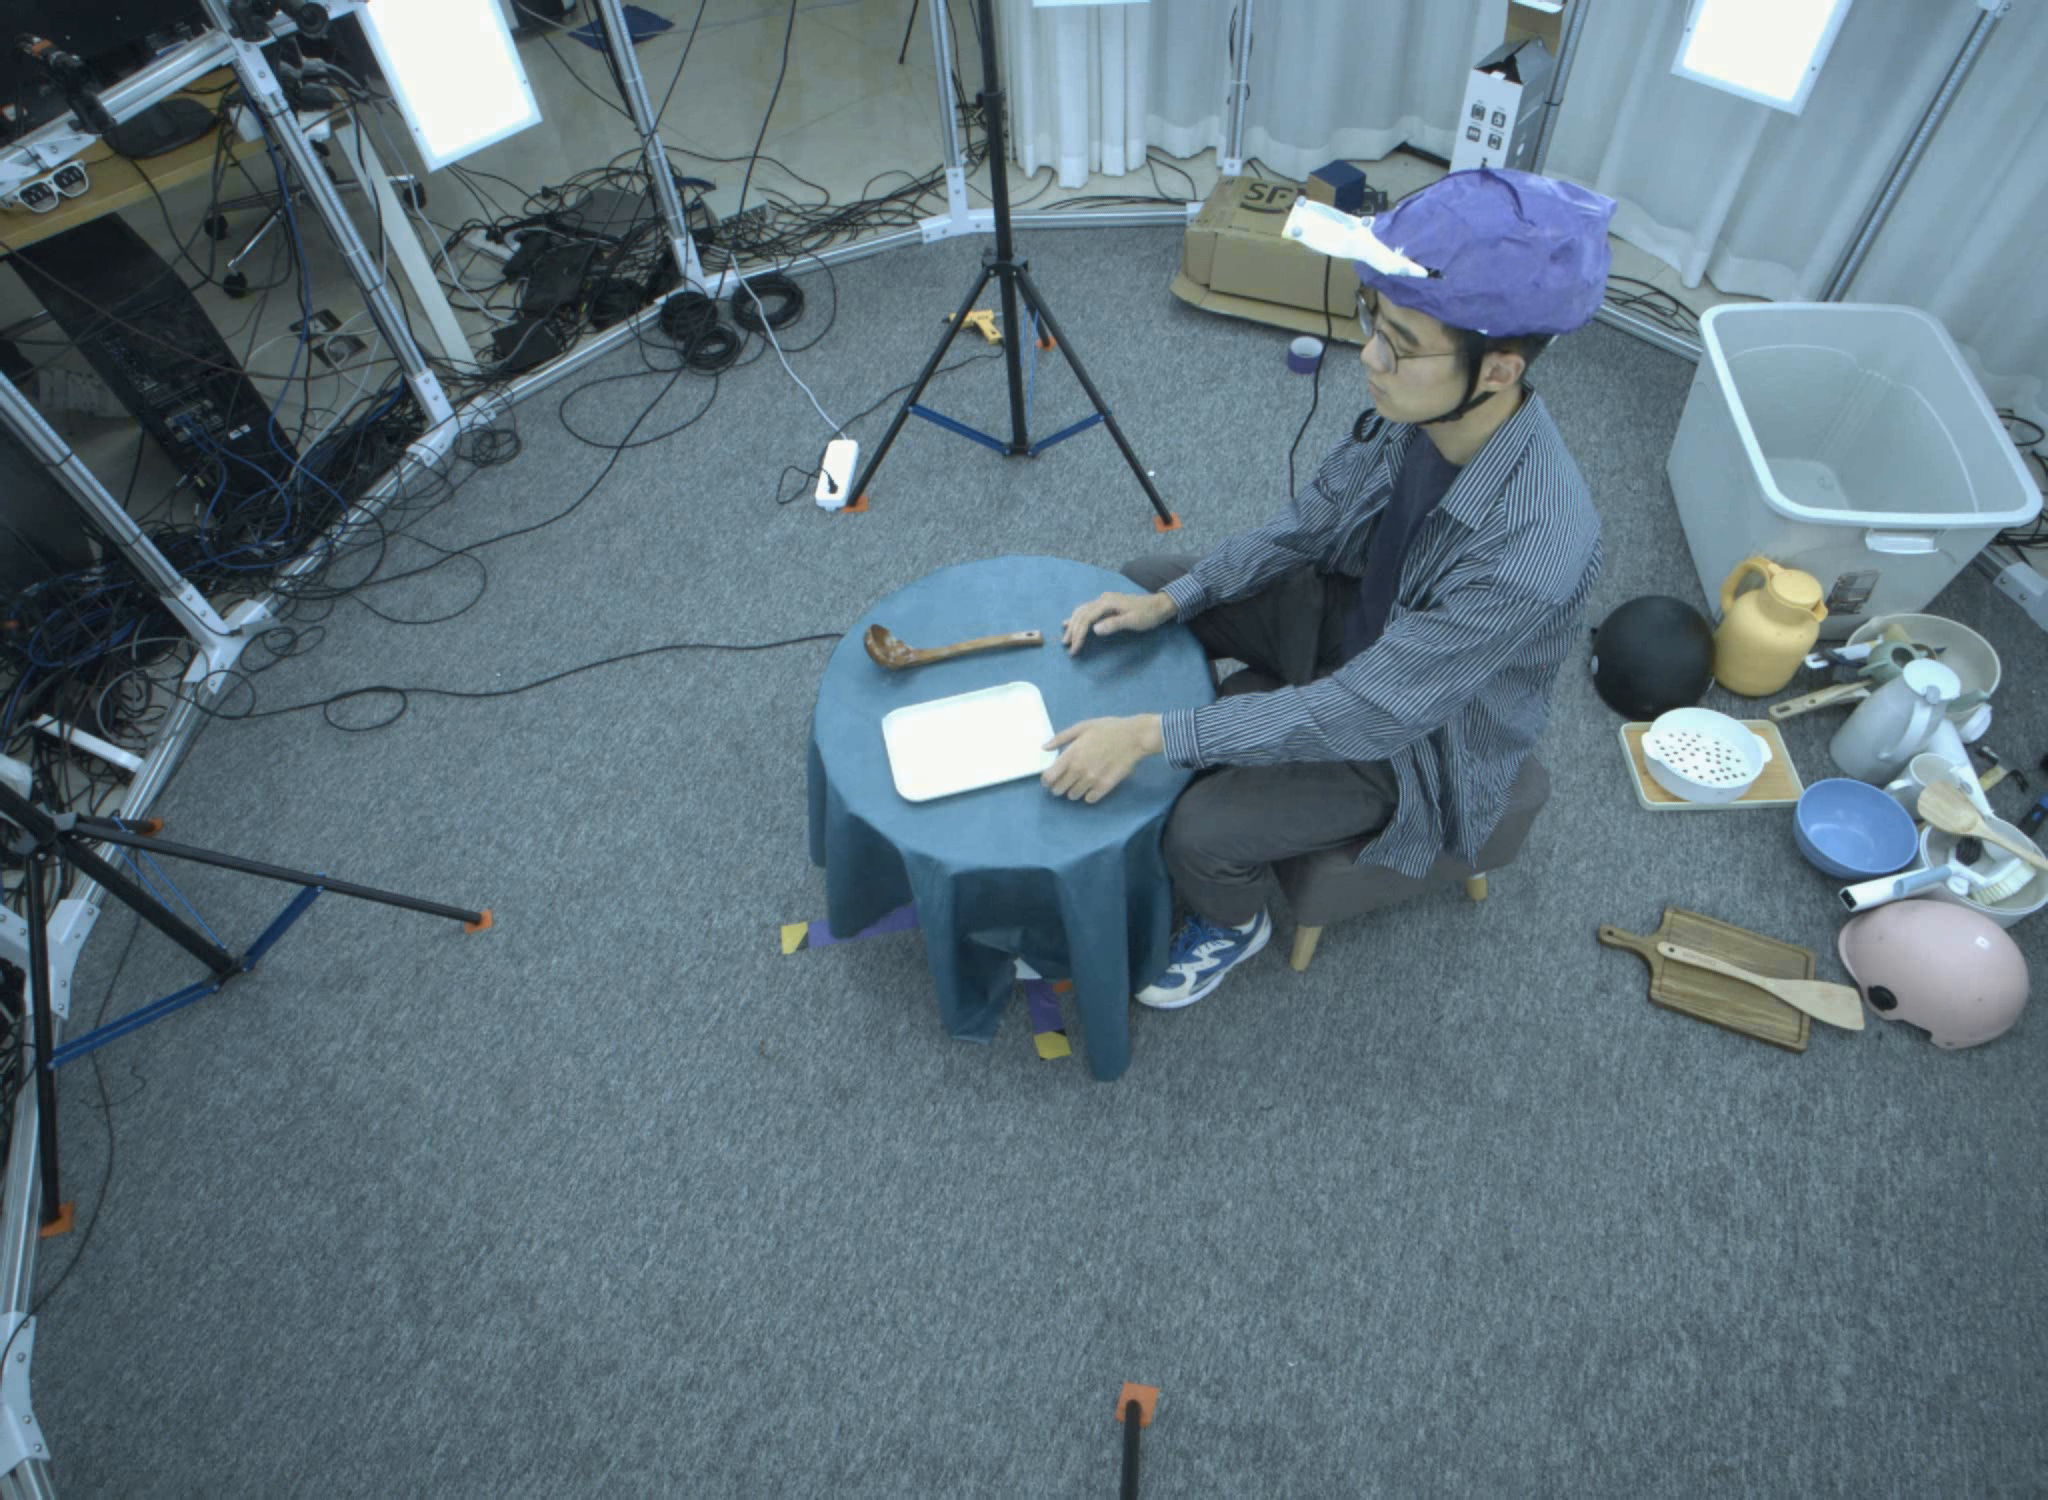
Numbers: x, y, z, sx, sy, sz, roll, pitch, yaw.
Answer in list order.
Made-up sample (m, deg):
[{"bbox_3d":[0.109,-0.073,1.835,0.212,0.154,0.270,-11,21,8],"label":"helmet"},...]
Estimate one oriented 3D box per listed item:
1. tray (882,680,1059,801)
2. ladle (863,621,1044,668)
[{"bbox_3d":[-0.079,-0.014,1.793,0.241,0.017,0.168,-13,56,-8],"label":"tray"},{"bbox_3d":[-0.108,-0.175,1.872,0.275,0.077,0.080,-9,50,-4],"label":"ladle"}]
